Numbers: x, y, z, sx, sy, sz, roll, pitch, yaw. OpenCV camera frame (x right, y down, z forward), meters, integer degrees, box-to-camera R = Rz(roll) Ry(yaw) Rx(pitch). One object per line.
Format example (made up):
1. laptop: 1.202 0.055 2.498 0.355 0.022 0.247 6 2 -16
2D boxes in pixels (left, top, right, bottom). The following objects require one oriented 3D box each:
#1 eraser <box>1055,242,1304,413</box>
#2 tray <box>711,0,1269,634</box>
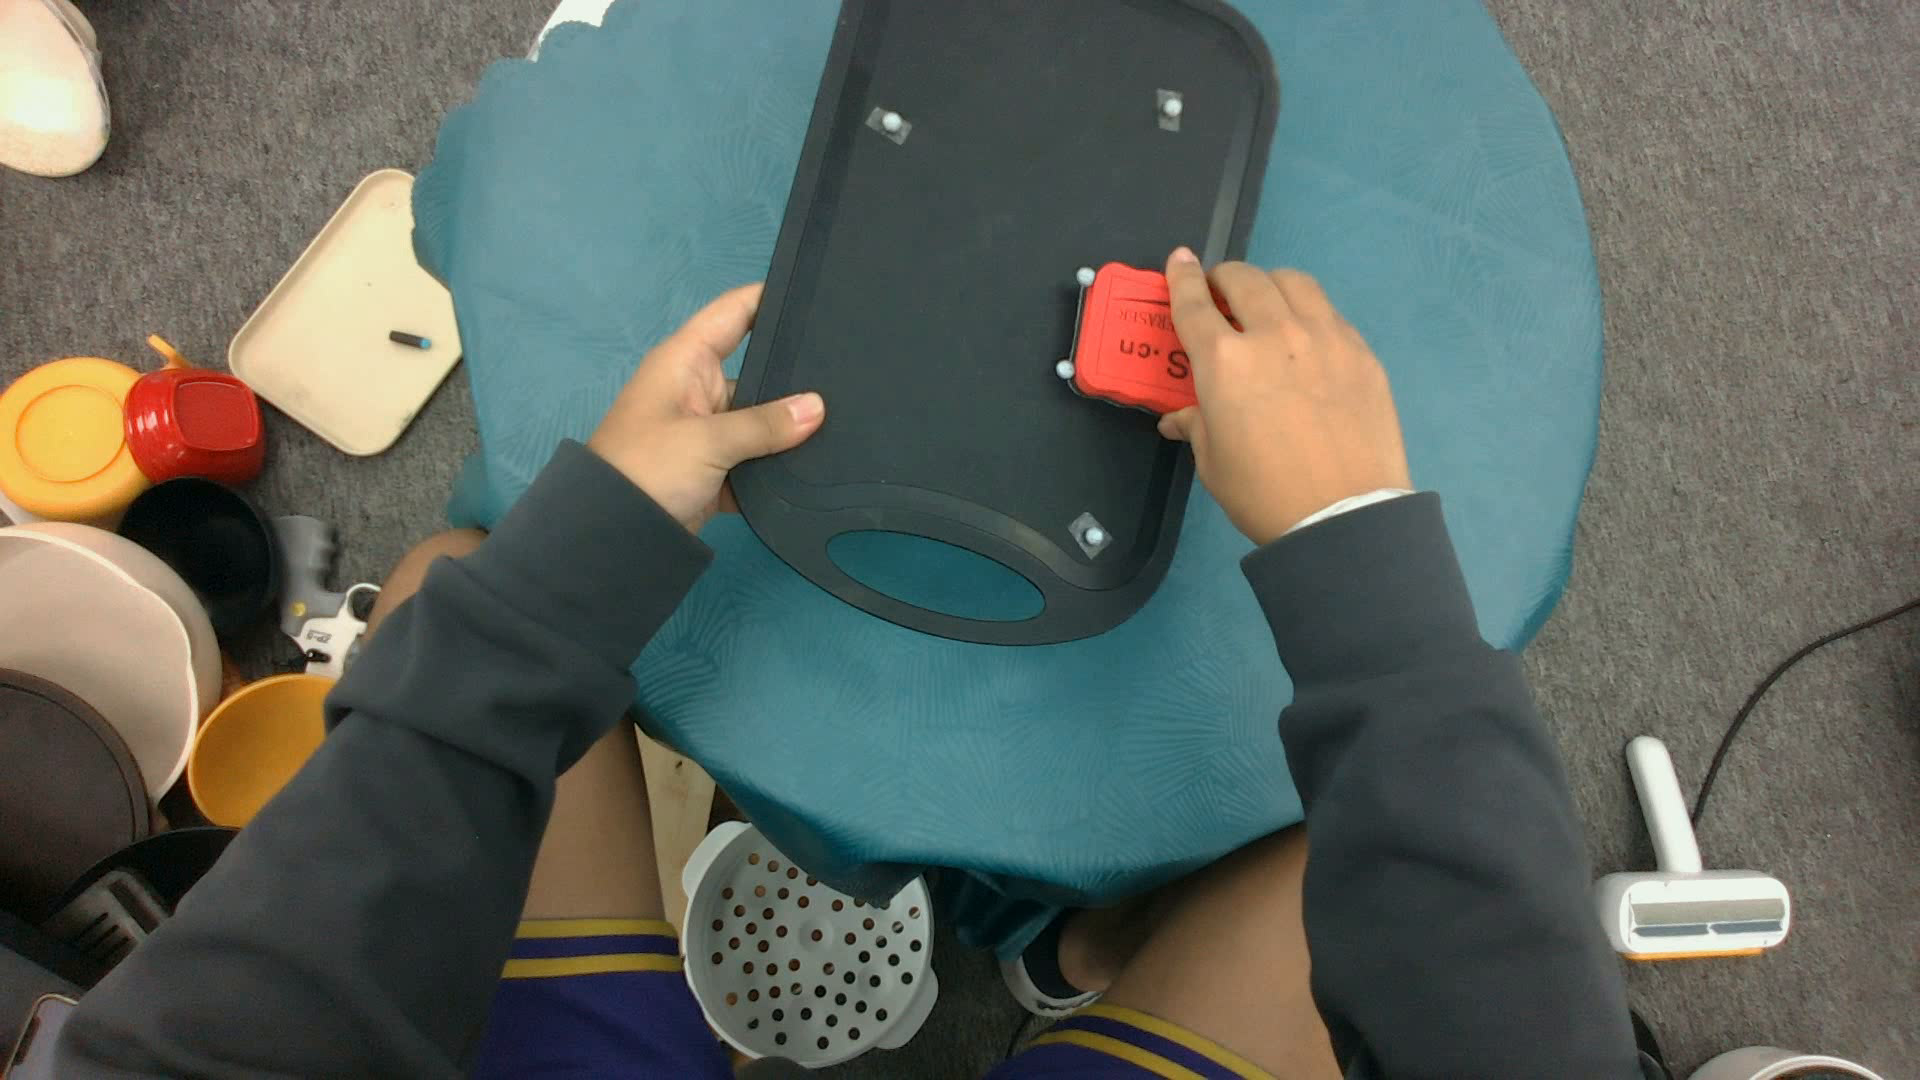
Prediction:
1. eraser: 0.099 -0.094 0.617 0.108 0.023 0.059 10 85 -14
2. tray: 0.020 -0.121 0.609 0.211 0.010 0.326 17 83 -16
